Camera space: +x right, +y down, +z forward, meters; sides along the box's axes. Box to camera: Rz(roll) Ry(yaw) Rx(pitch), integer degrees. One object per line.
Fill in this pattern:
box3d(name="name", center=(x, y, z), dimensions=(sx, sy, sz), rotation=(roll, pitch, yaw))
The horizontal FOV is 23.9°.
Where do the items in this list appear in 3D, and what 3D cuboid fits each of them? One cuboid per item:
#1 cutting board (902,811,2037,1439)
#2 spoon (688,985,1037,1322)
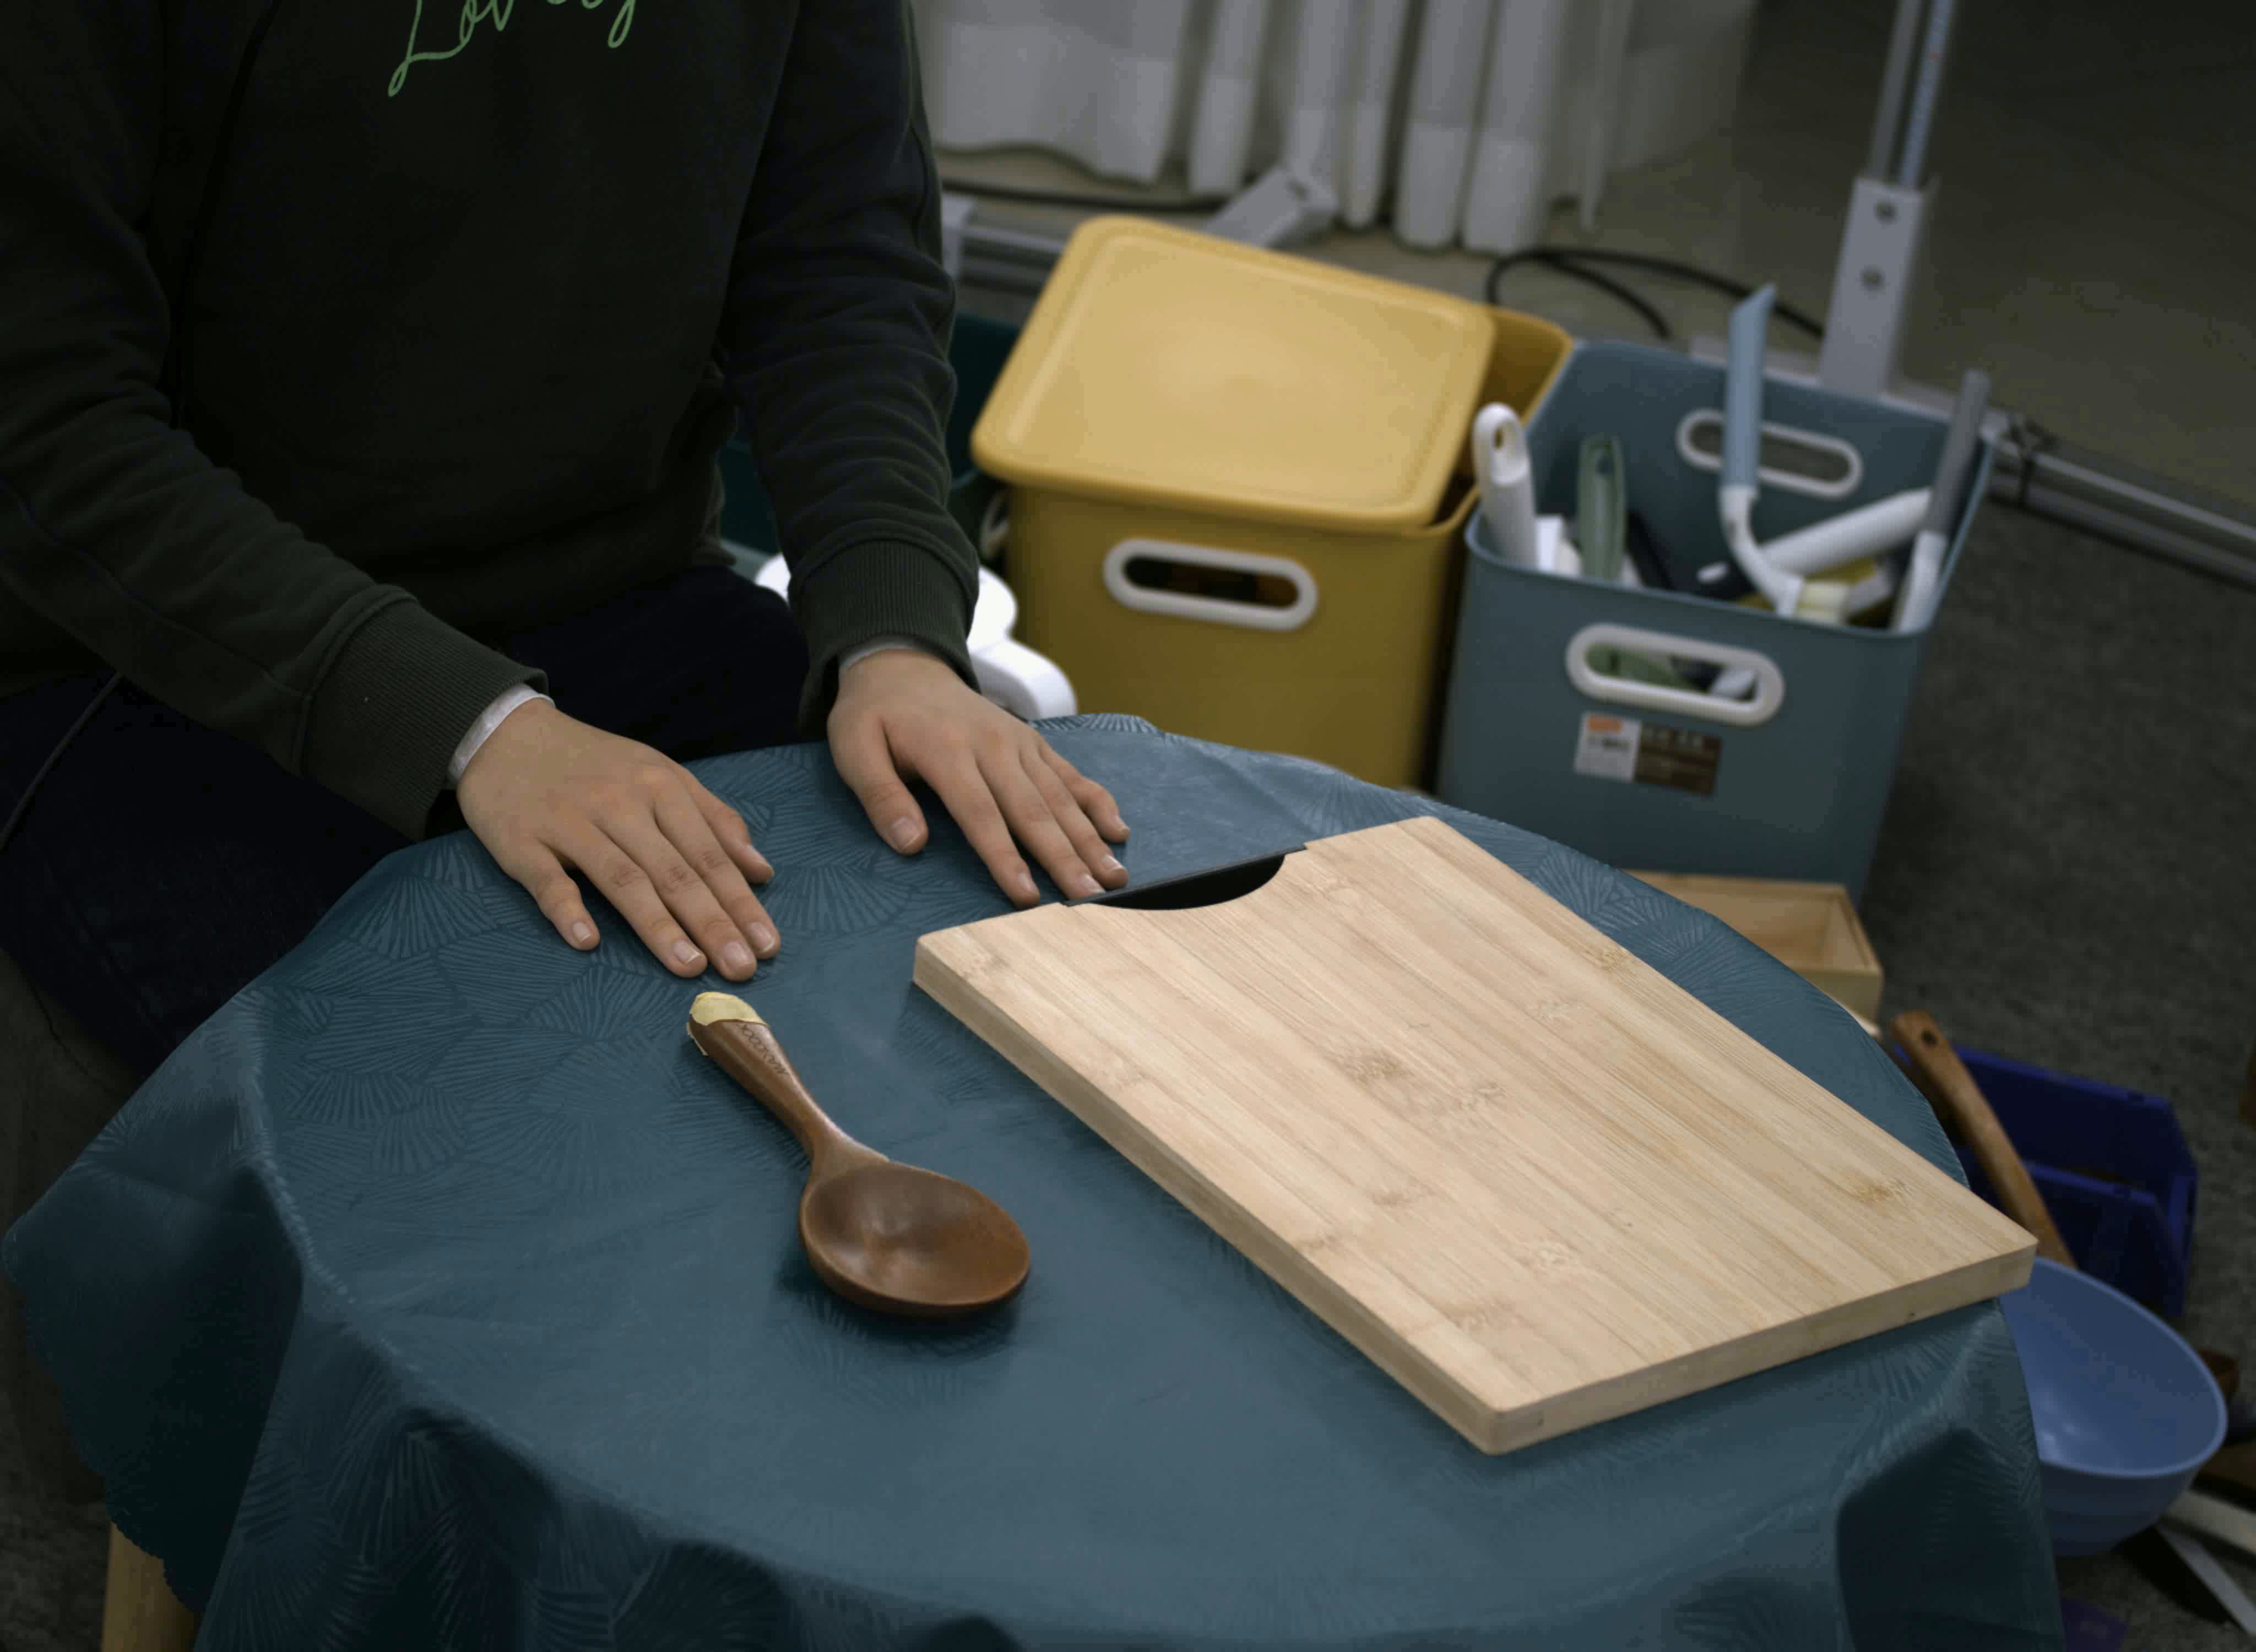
box3d(name="cutting board", center=(0.113, 0.096, 1.862), dimensions=(0.249, 0.023, 0.352), rotation=(-12, 32, -34))
box3d(name="spoon", center=(-0.098, 0.110, 1.785), dimensions=(0.075, 0.017, 0.218), rotation=(-9, 31, -25))
